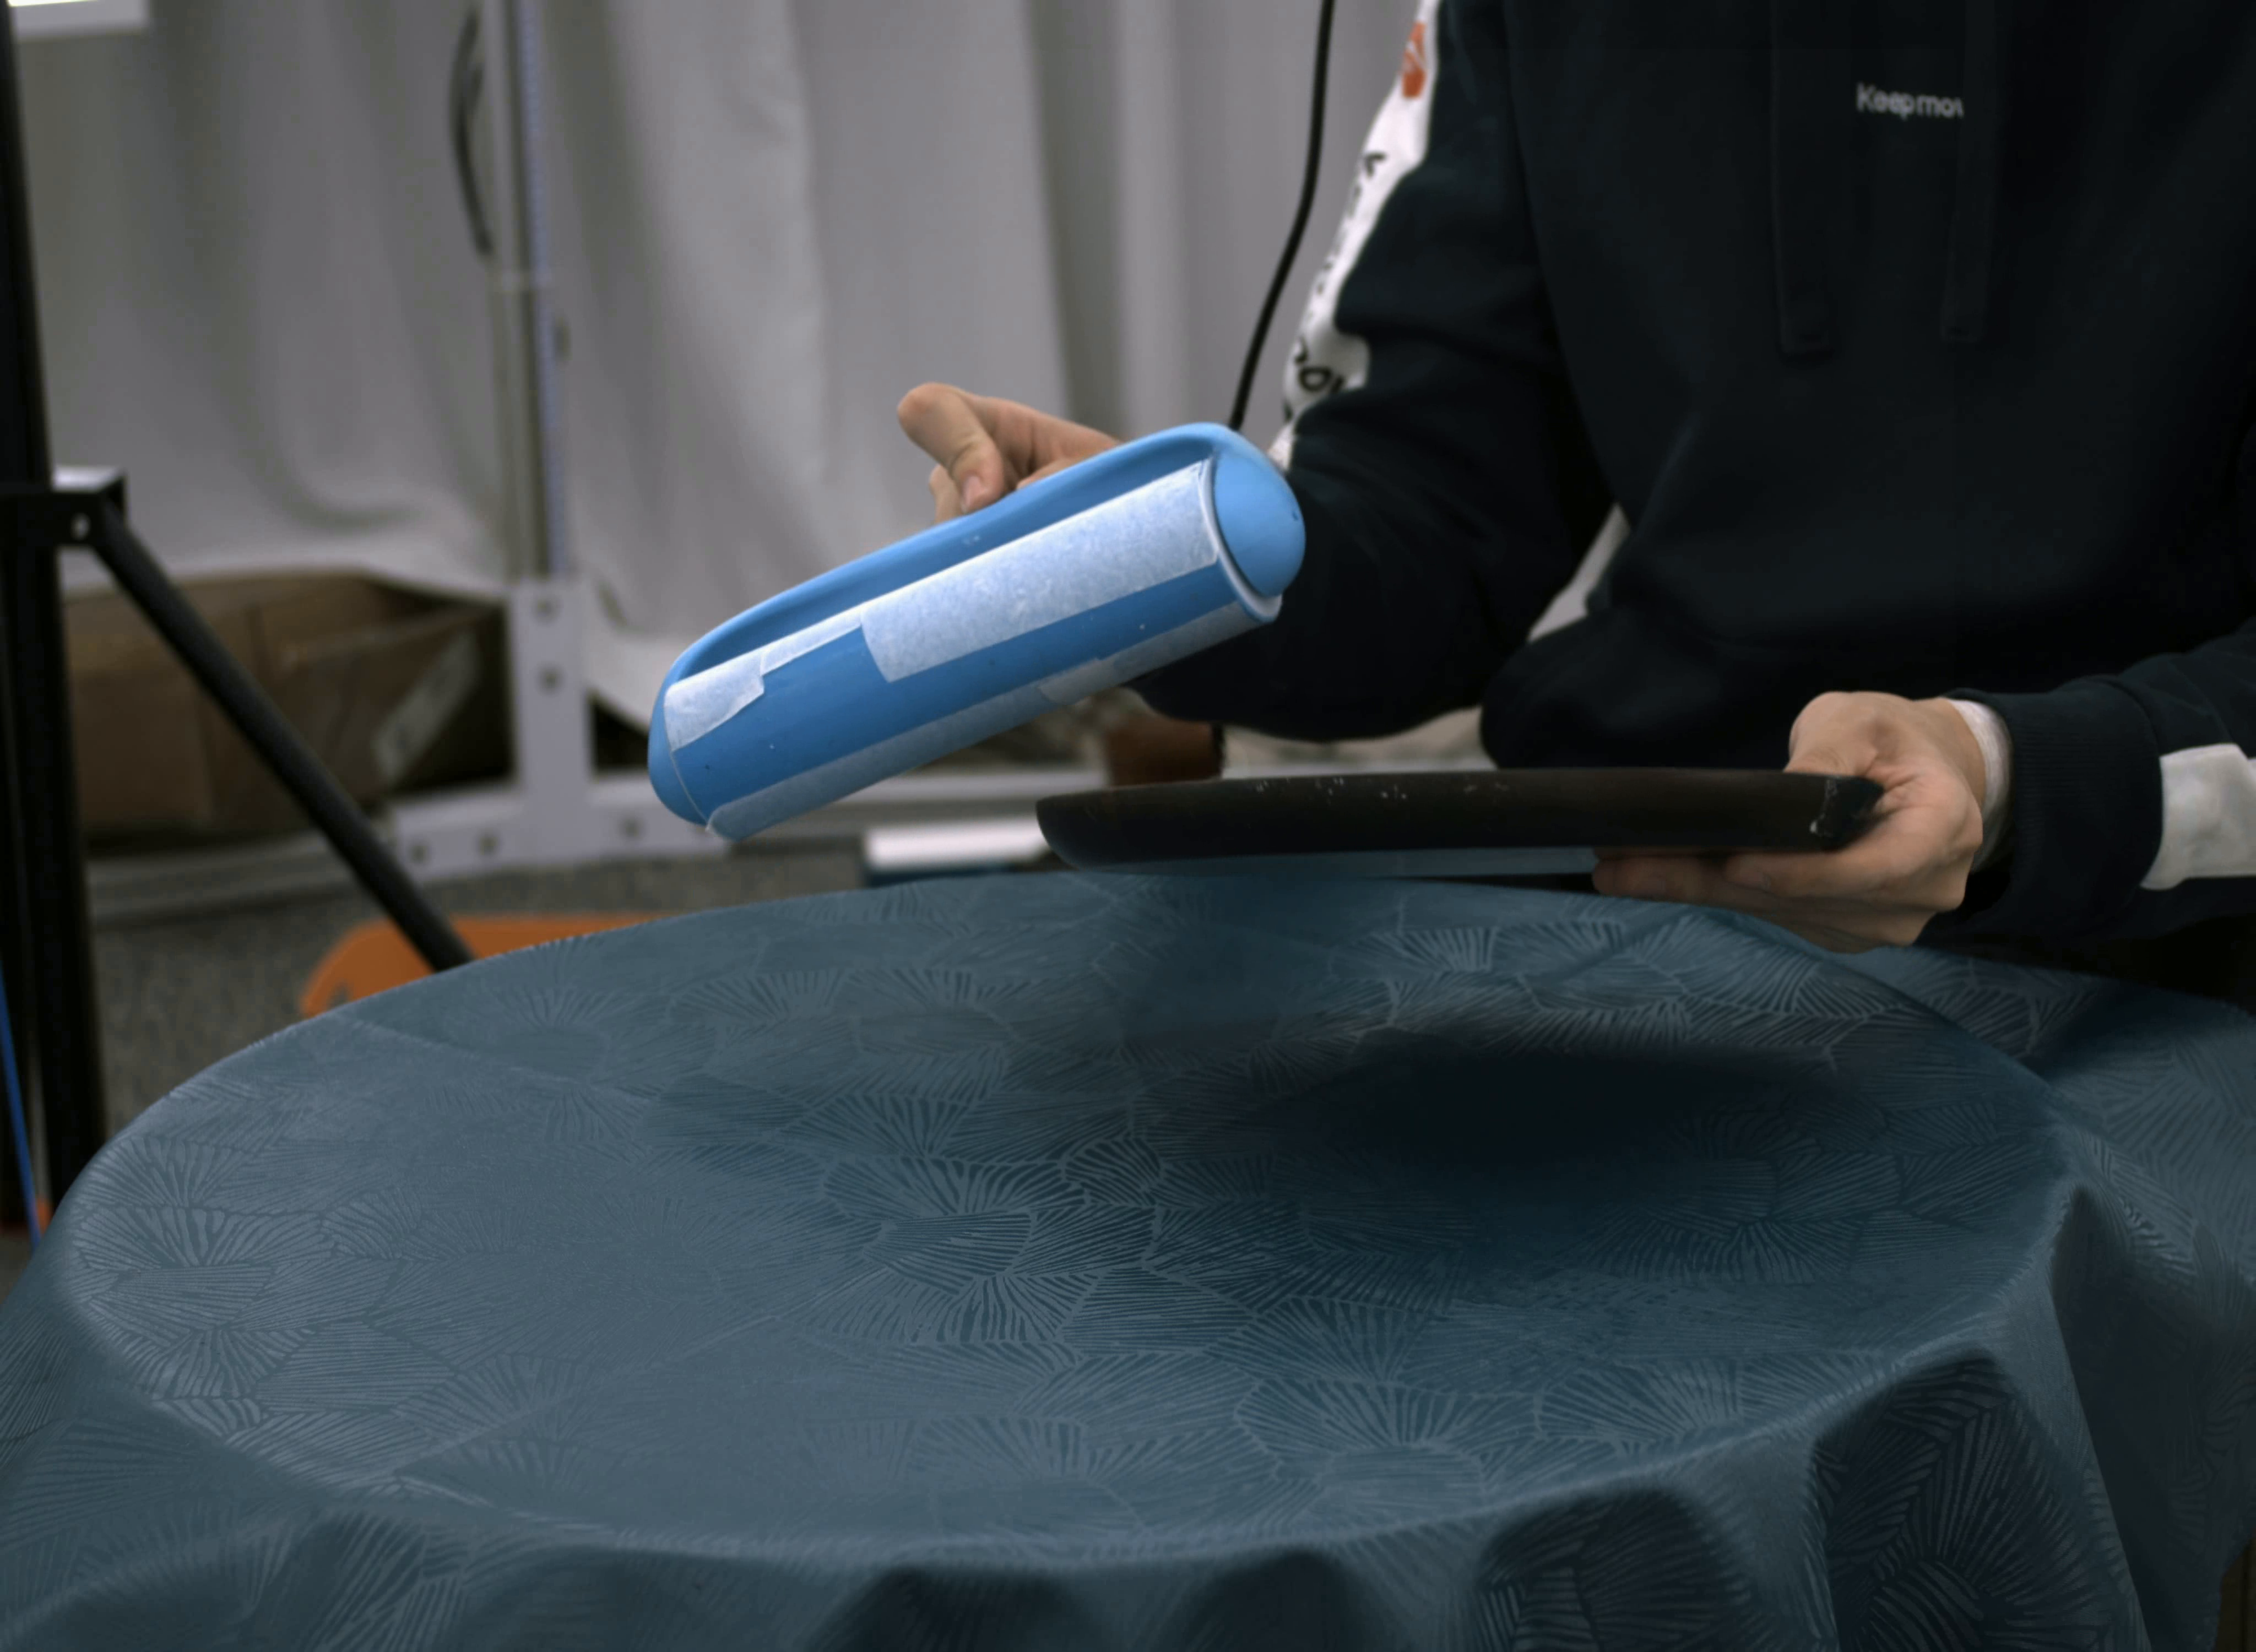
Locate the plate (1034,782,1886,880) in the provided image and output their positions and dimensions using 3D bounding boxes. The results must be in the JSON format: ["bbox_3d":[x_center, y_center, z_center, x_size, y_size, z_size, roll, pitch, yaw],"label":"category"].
[{"bbox_3d":[0.098,0.002,1.576,0.253,0.029,0.255,-1,-1,-1],"label":"plate"}]

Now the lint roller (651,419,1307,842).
[{"bbox_3d":[-0.037,-0.072,1.703,0.231,0.068,0.179,-24,10,18],"label":"lint roller"}]
